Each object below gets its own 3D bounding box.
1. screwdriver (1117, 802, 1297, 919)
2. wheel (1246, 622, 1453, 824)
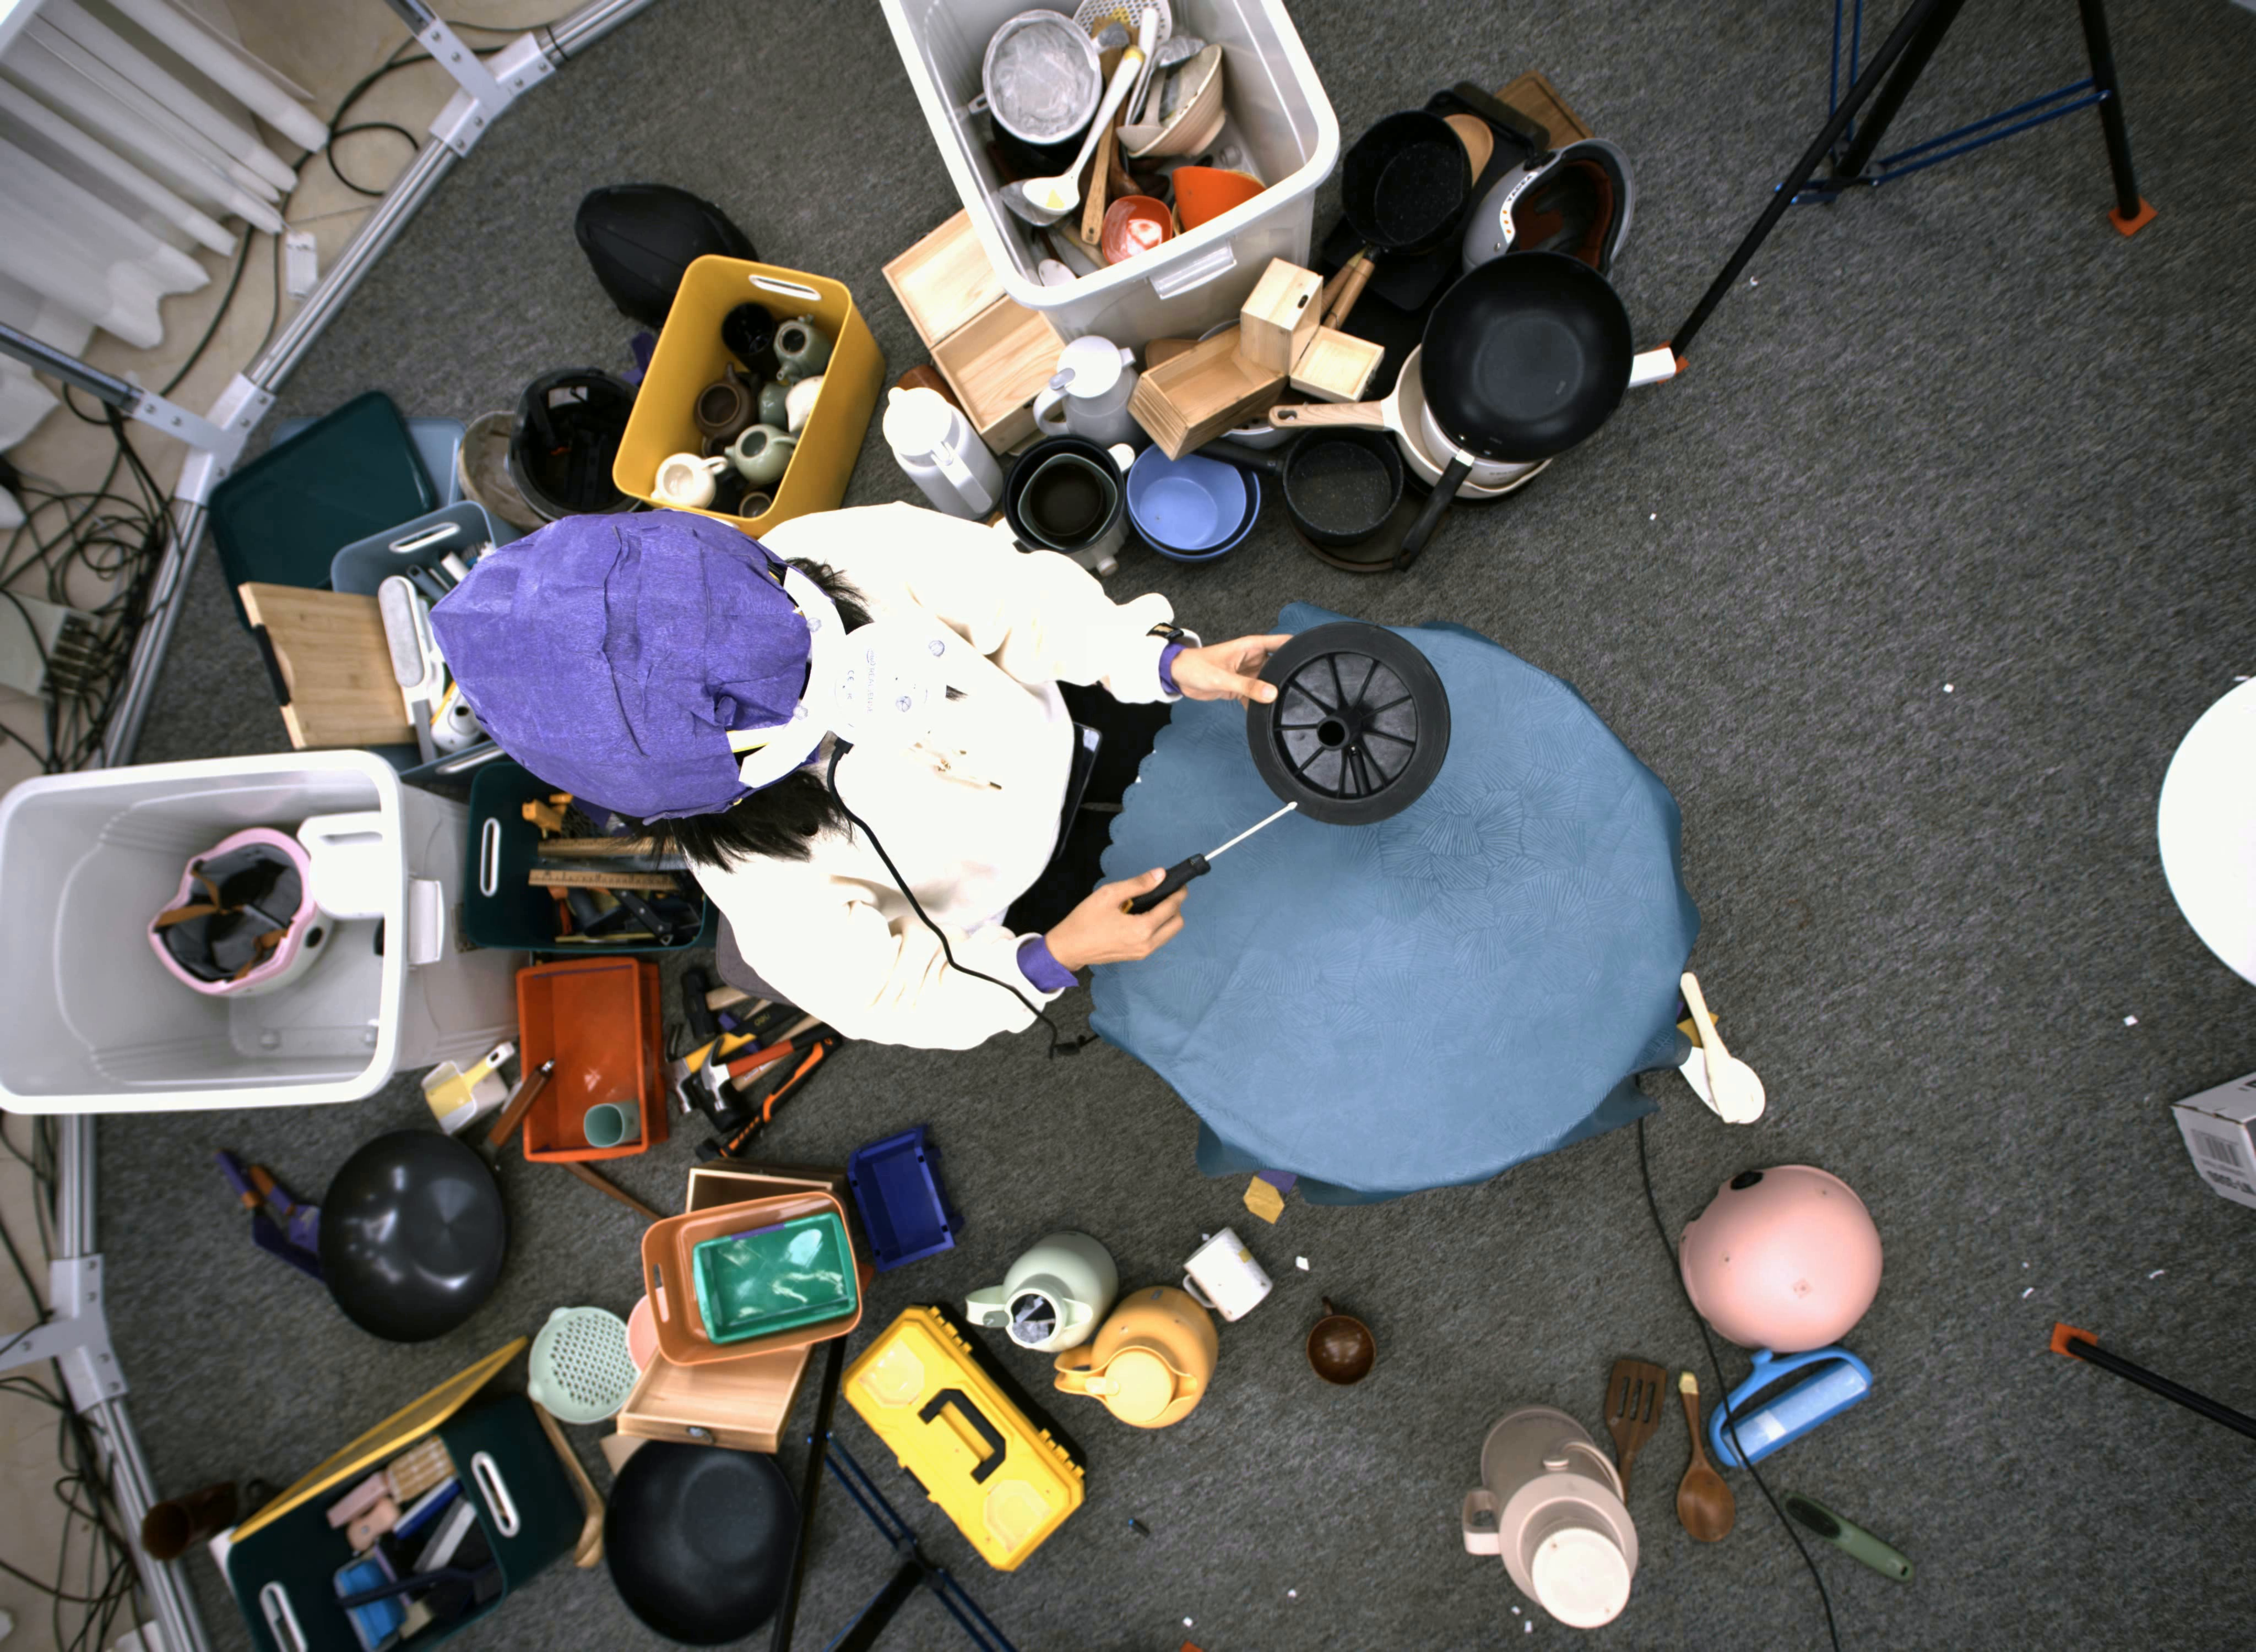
[{"bbox_3d":[0.074,0.029,1.297,0.198,0.031,0.031,-34,80,14],"label":"screwdriver"},{"bbox_3d":[0.196,-0.089,1.245,0.190,0.078,0.190,-38,91,25],"label":"wheel"}]
